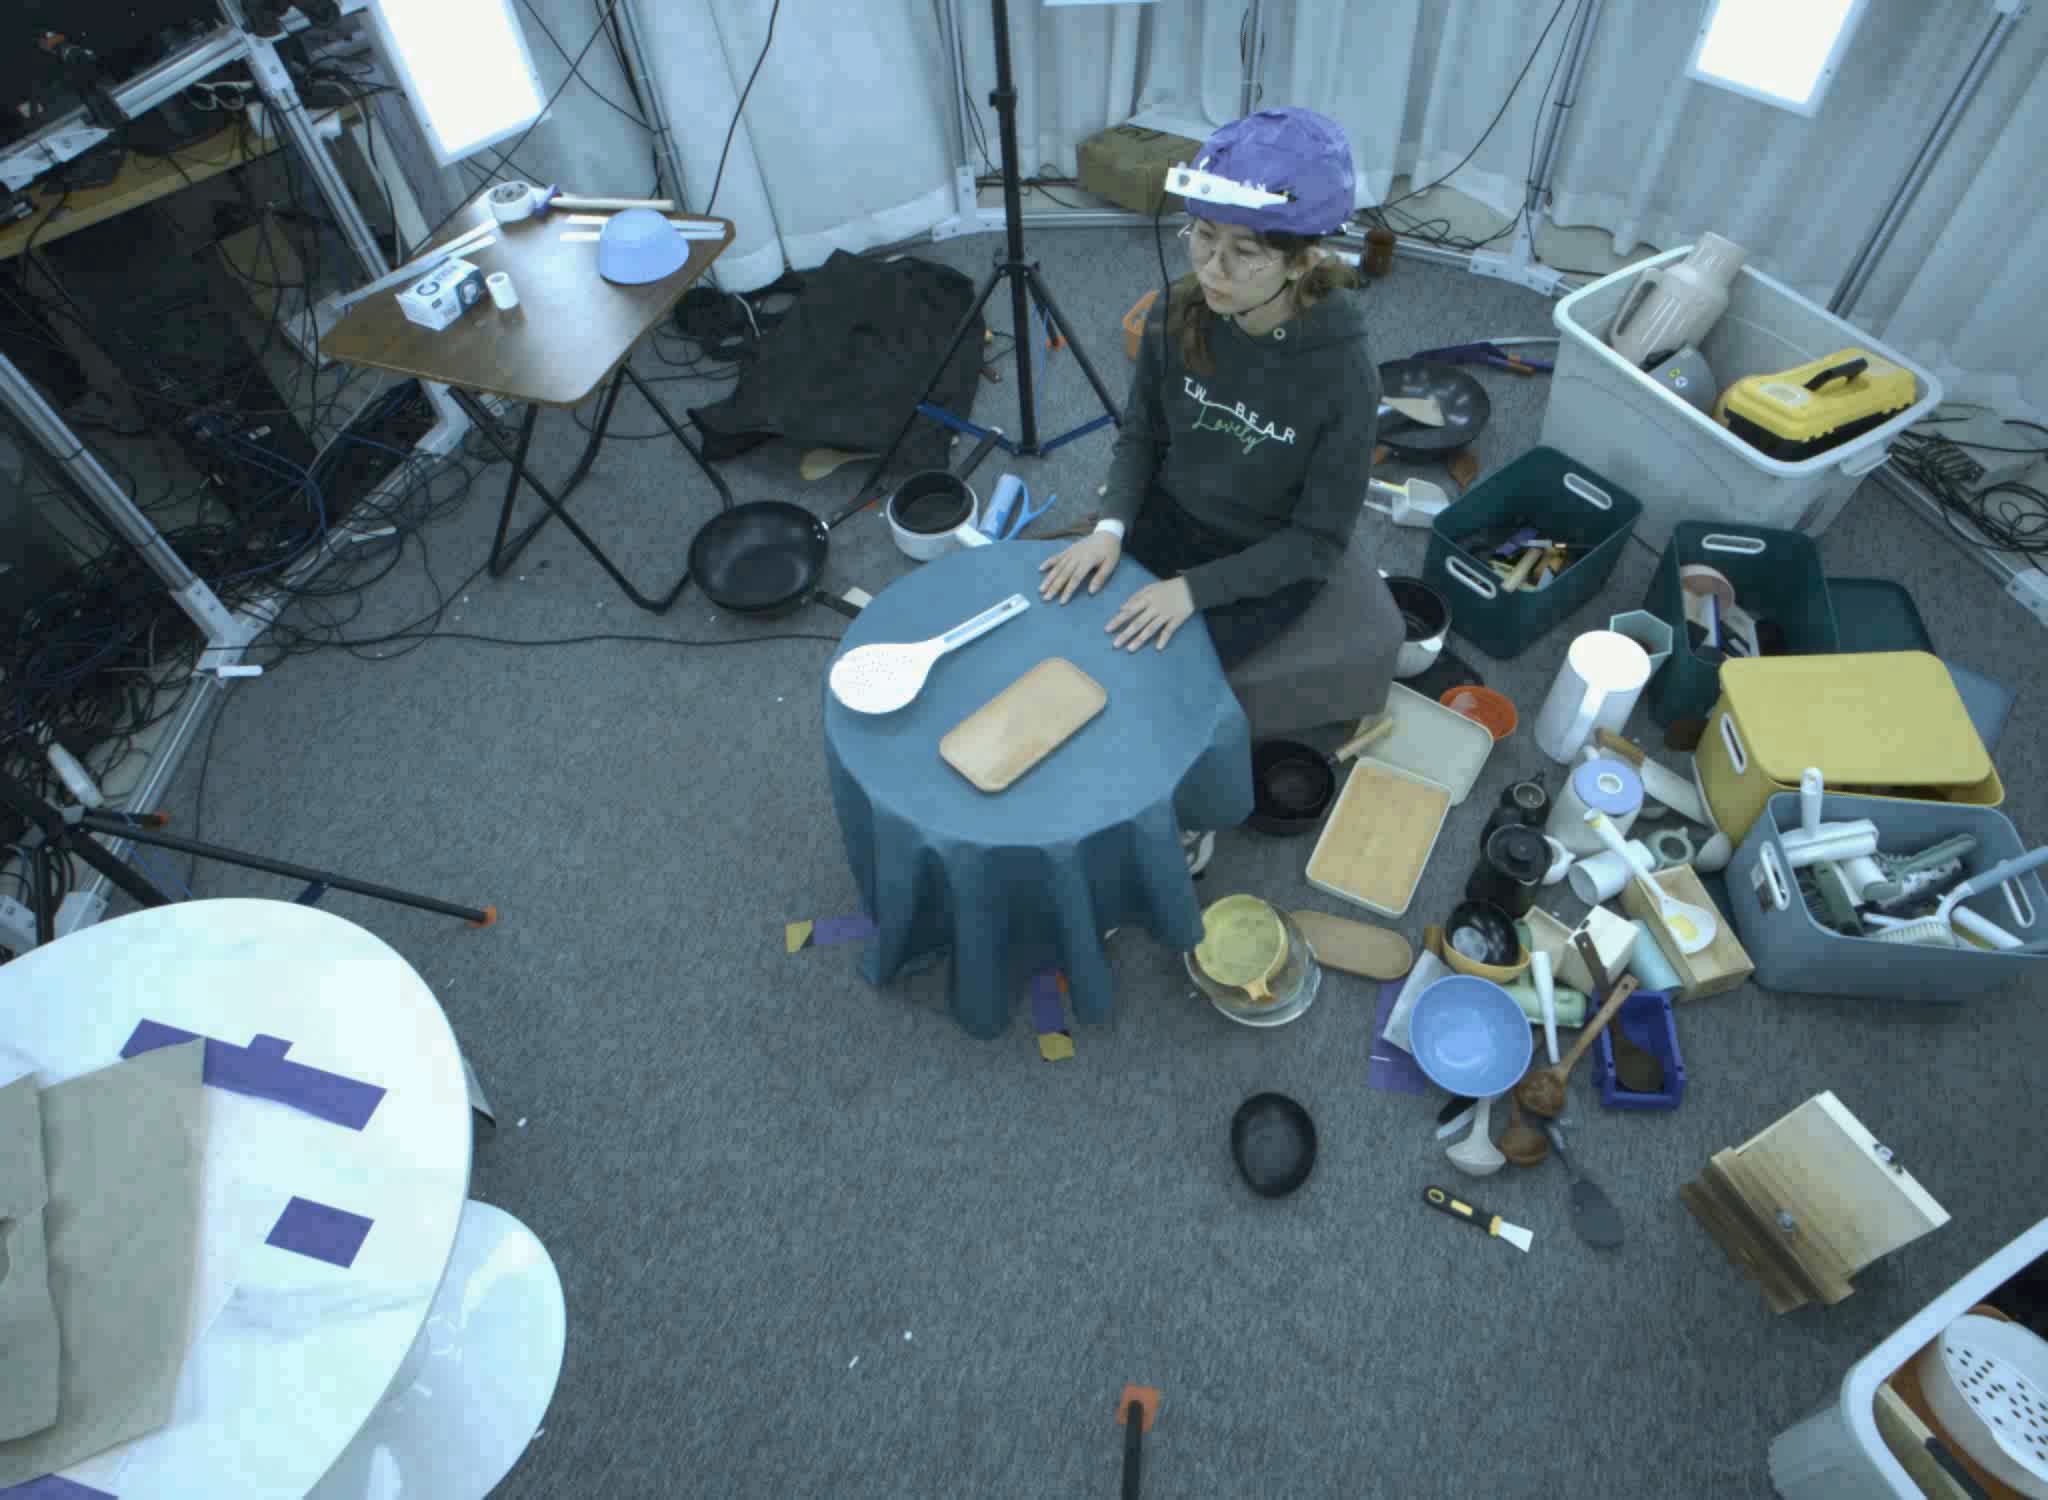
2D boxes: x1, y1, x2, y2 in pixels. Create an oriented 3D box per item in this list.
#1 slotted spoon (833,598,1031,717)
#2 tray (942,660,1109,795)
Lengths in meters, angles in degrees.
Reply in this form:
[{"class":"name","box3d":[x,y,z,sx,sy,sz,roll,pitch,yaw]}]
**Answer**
[{"class":"slotted spoon","box3d":[-0.134,-0.151,1.880,0.352,0.046,0.133,-34,63,-21]},{"class":"tray","box3d":[0.004,-0.035,1.812,0.252,0.023,0.128,-38,64,-23]}]
